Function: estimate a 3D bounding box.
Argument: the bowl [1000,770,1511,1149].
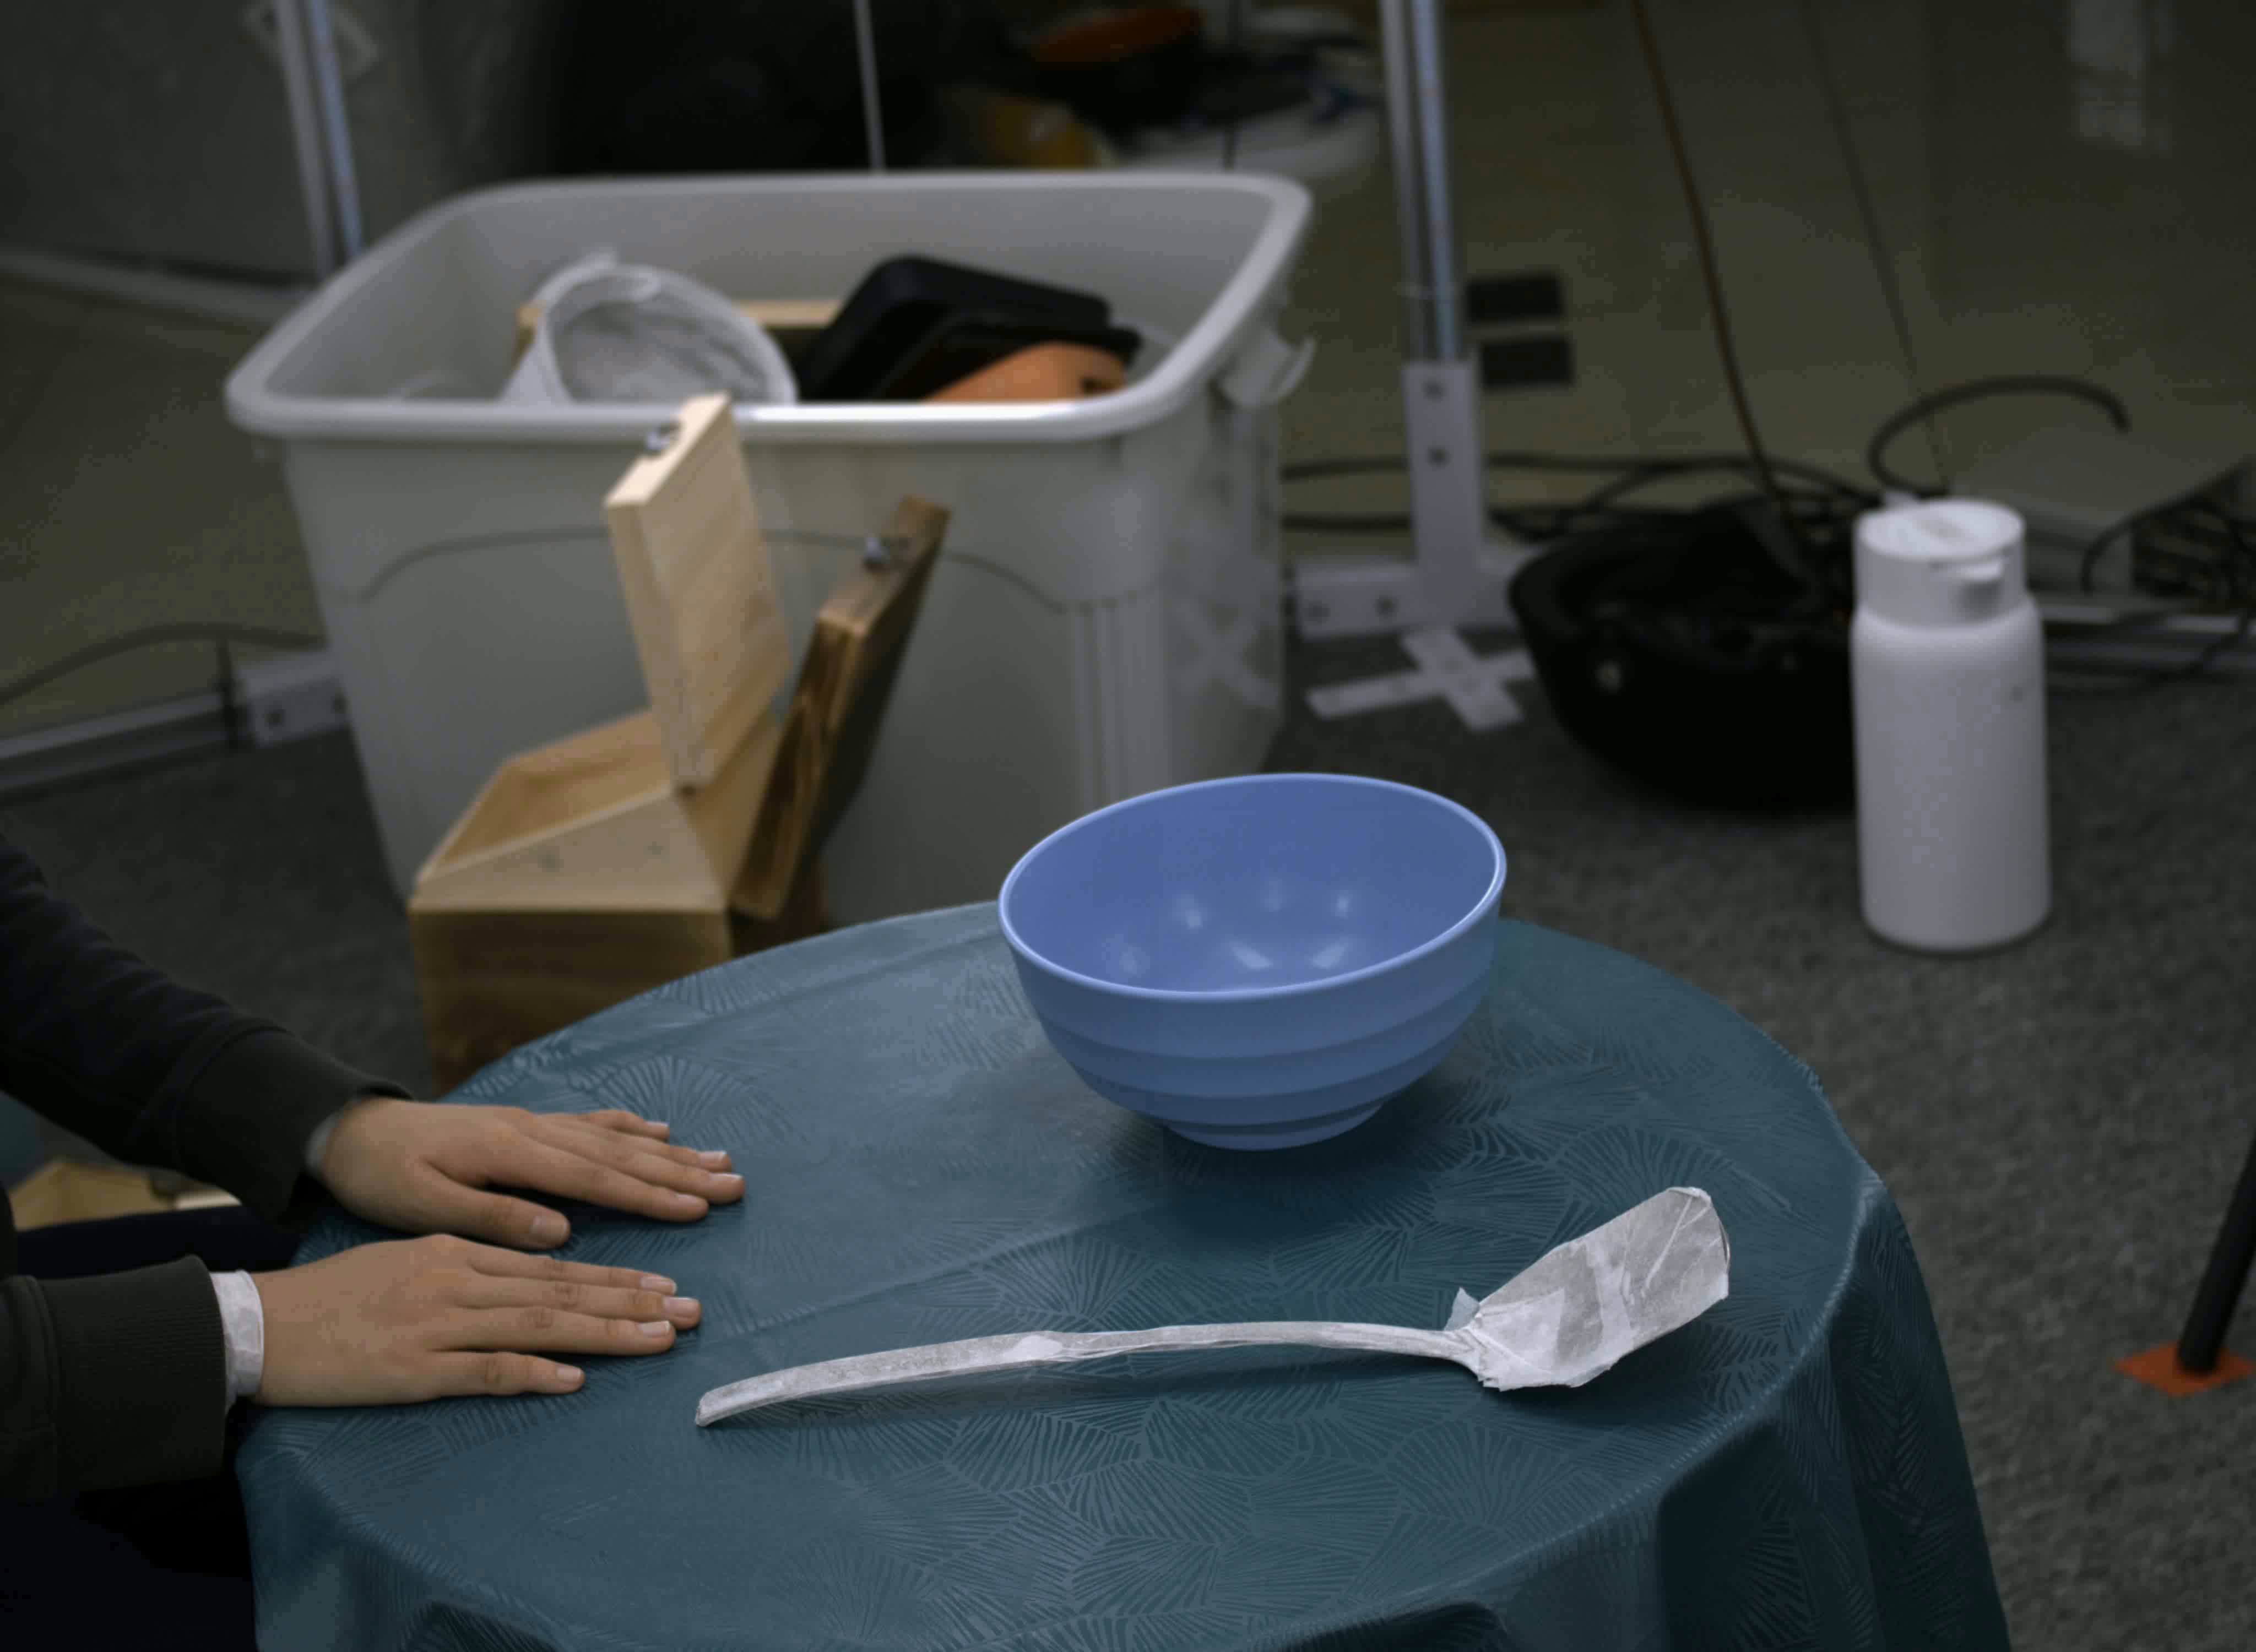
[{"bbox_3d":[0.052,0.062,2.189,0.196,0.097,0.193,-3,26,2],"label":"bowl"}]

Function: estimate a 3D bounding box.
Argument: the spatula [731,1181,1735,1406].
[{"bbox_3d":[0.034,0.177,2.018,0.364,0.045,0.097,-4,27,5],"label":"spatula"}]
